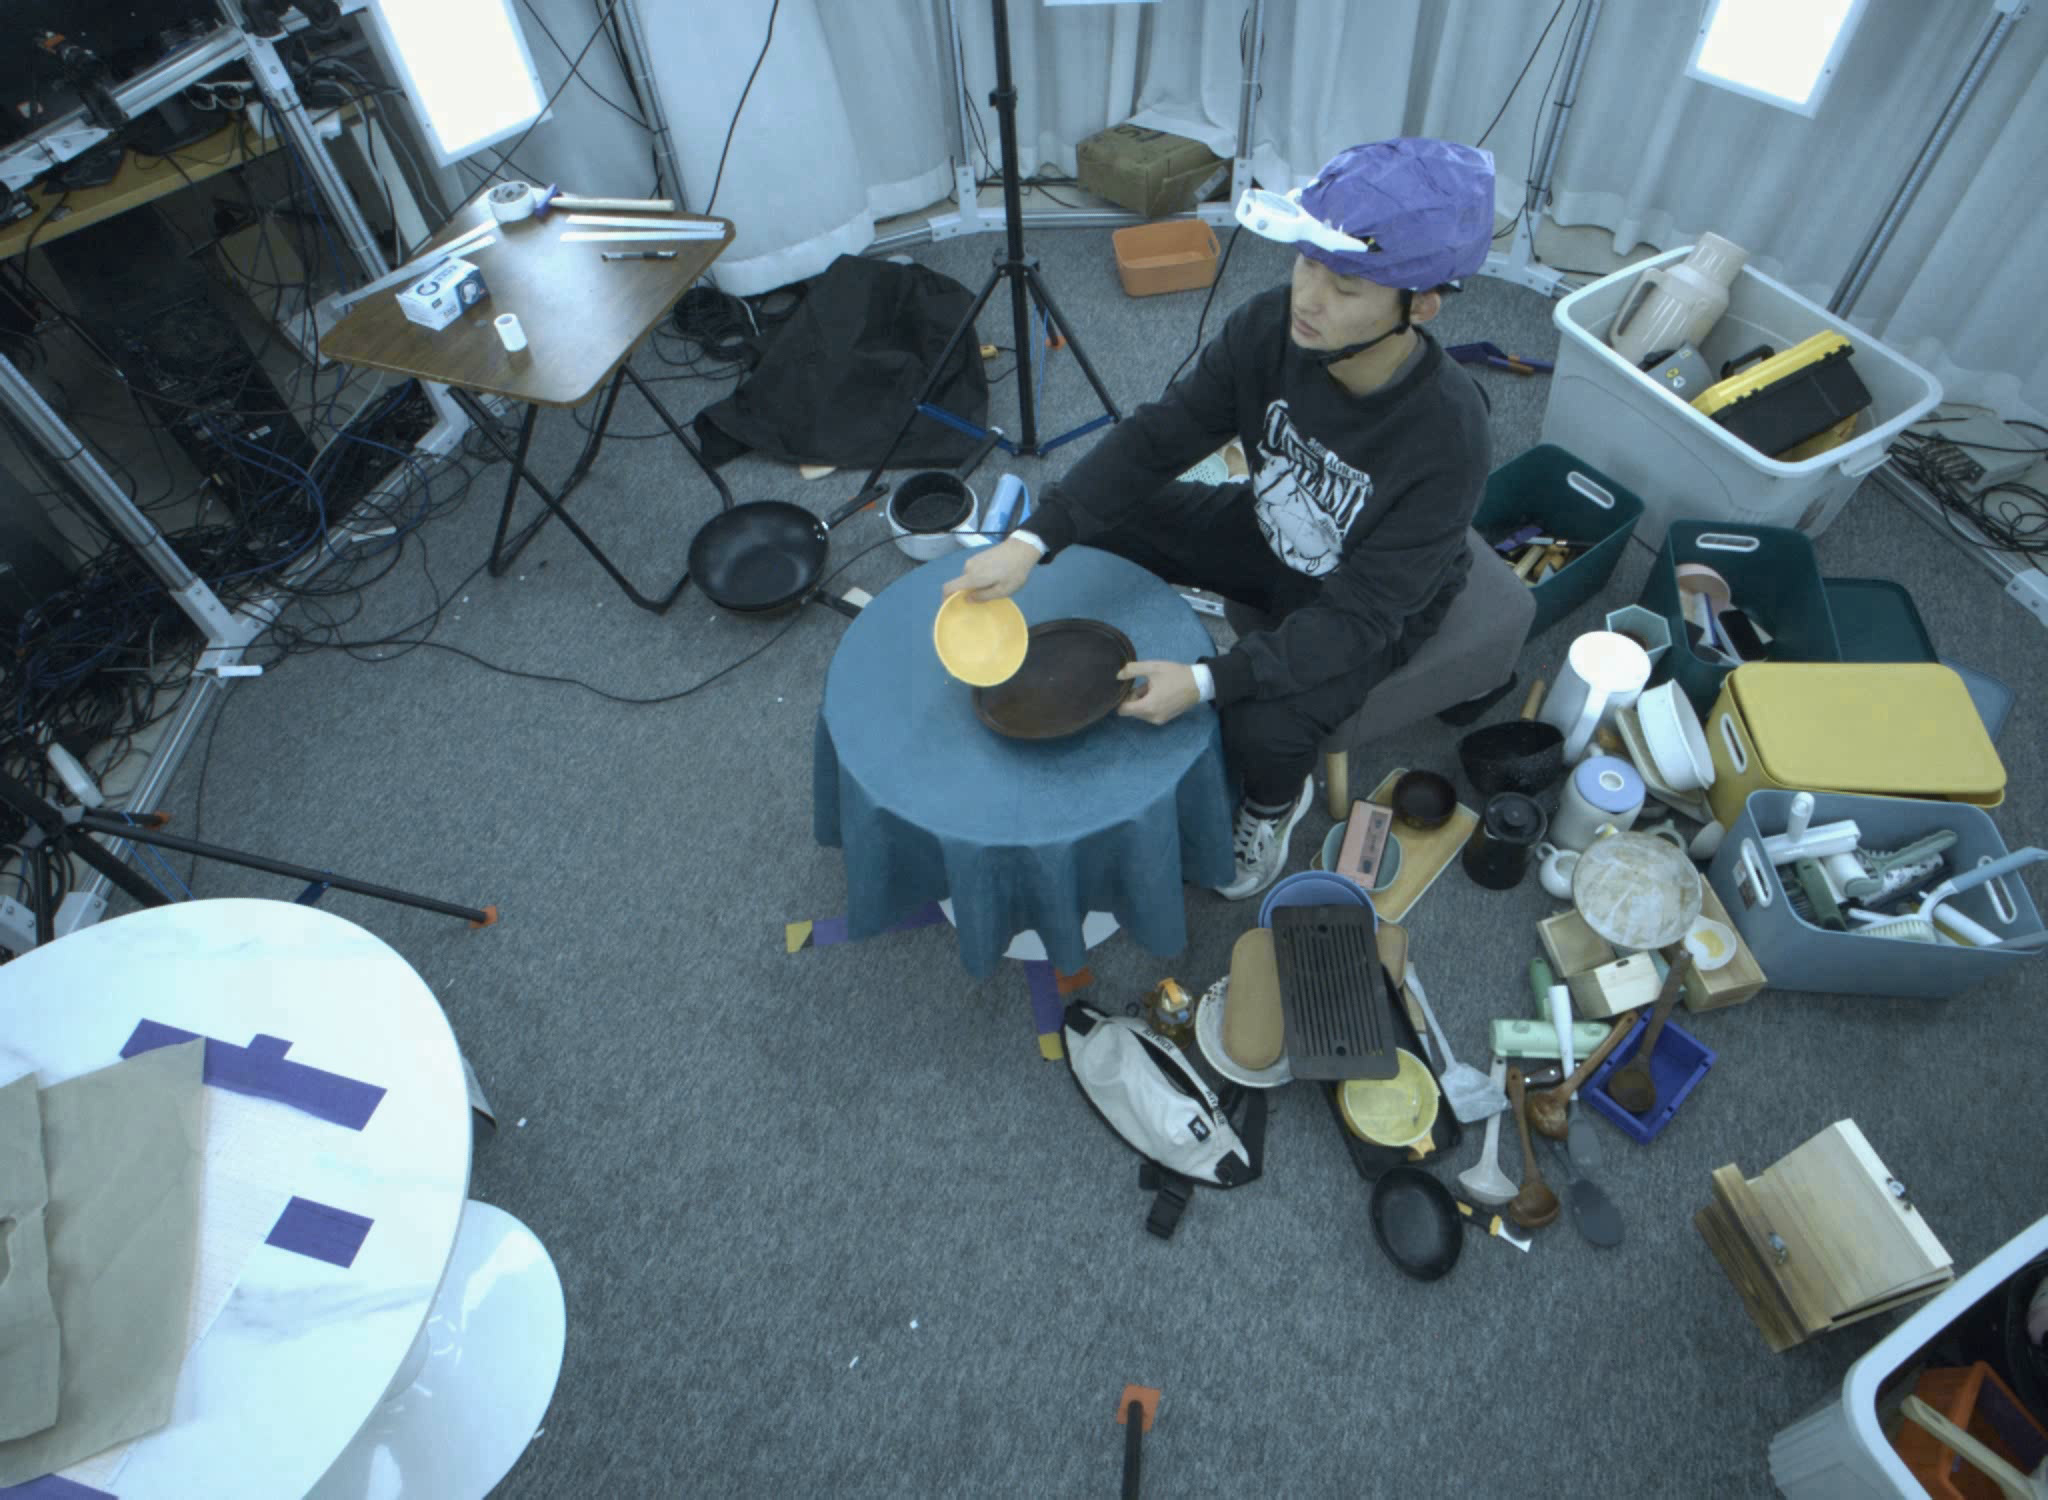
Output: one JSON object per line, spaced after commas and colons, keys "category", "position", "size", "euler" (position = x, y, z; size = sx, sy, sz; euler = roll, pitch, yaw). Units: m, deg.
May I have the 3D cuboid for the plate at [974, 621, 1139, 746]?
{"category": "plate", "position": [0.048, -0.099, 1.818], "size": [0.253, 0.029, 0.252], "euler": [-10, 44, 11]}

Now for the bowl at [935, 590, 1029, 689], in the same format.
{"category": "bowl", "position": [-0.070, -0.159, 1.793], "size": [0.148, 0.059, 0.145], "euler": [0, 89, -25]}
